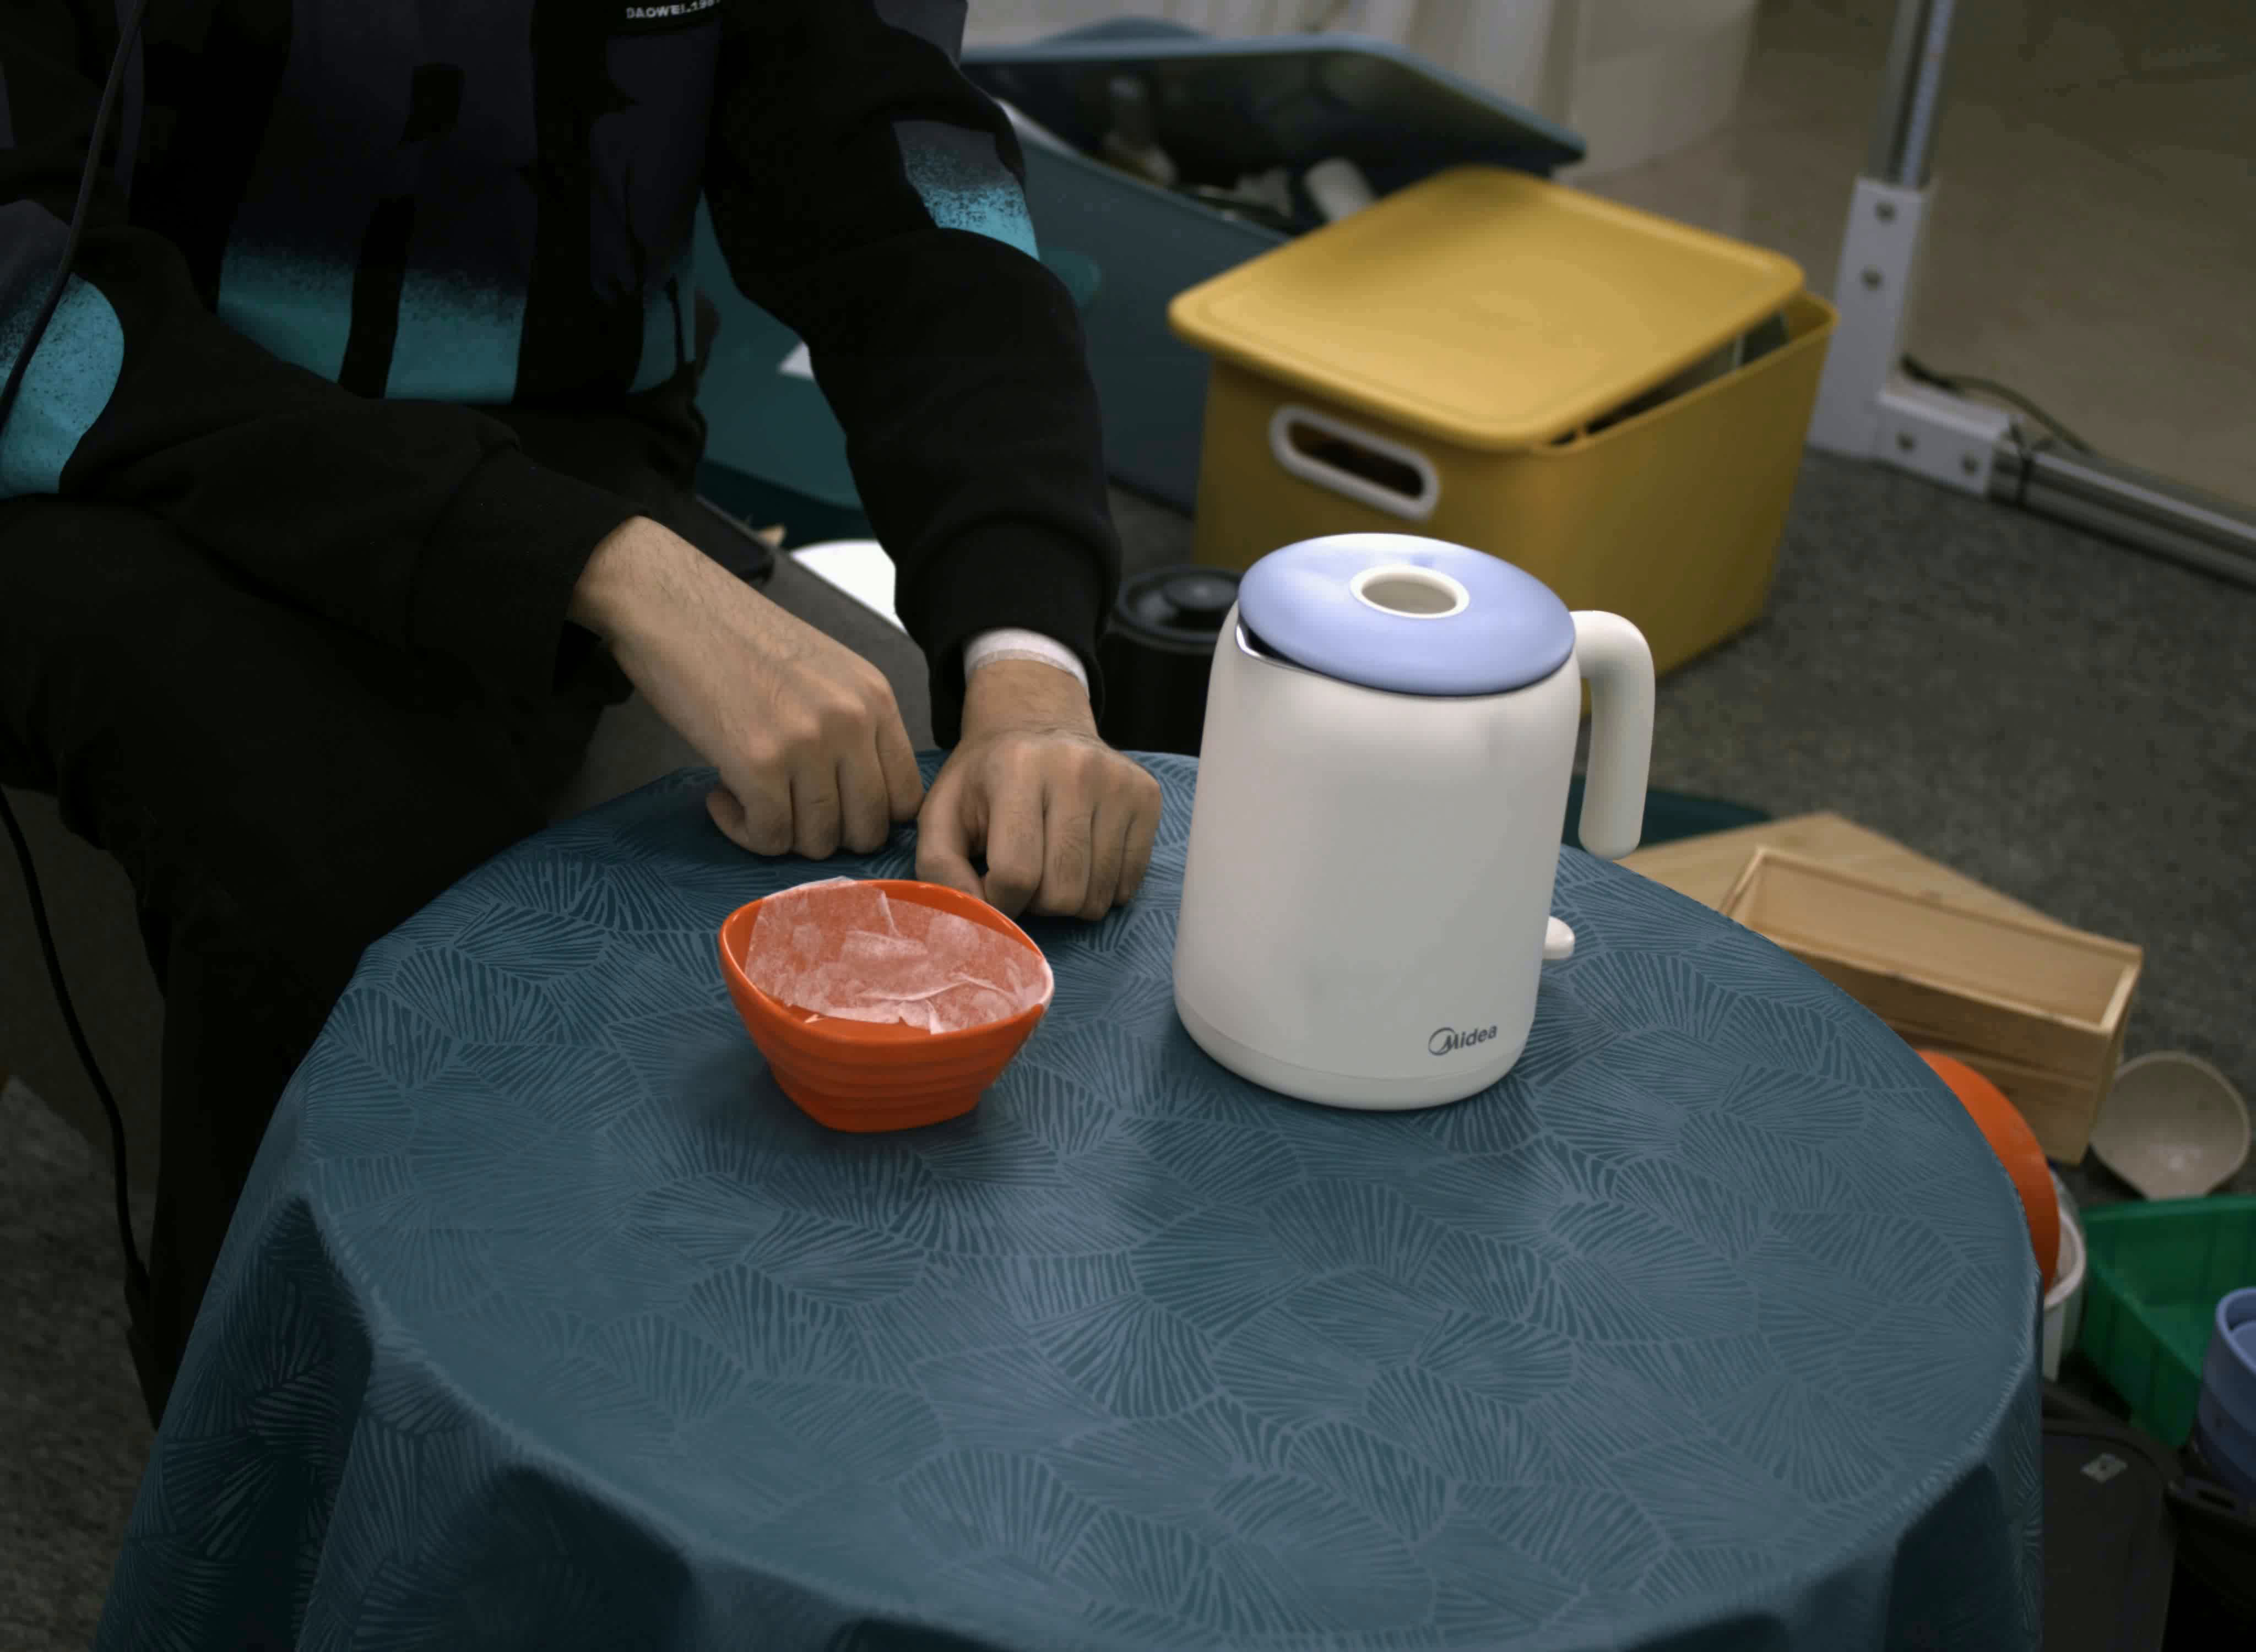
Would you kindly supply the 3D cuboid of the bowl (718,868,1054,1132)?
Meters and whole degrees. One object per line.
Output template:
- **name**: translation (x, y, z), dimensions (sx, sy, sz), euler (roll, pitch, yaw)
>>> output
- **bowl**: translation (-0.085, 0.065, 1.835), dimensions (0.118, 0.051, 0.120), euler (4, 30, -3)

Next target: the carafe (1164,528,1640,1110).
- **carafe**: translation (0.106, -0.006, 1.891), dimensions (0.190, 0.182, 0.133), euler (-10, 32, -34)
